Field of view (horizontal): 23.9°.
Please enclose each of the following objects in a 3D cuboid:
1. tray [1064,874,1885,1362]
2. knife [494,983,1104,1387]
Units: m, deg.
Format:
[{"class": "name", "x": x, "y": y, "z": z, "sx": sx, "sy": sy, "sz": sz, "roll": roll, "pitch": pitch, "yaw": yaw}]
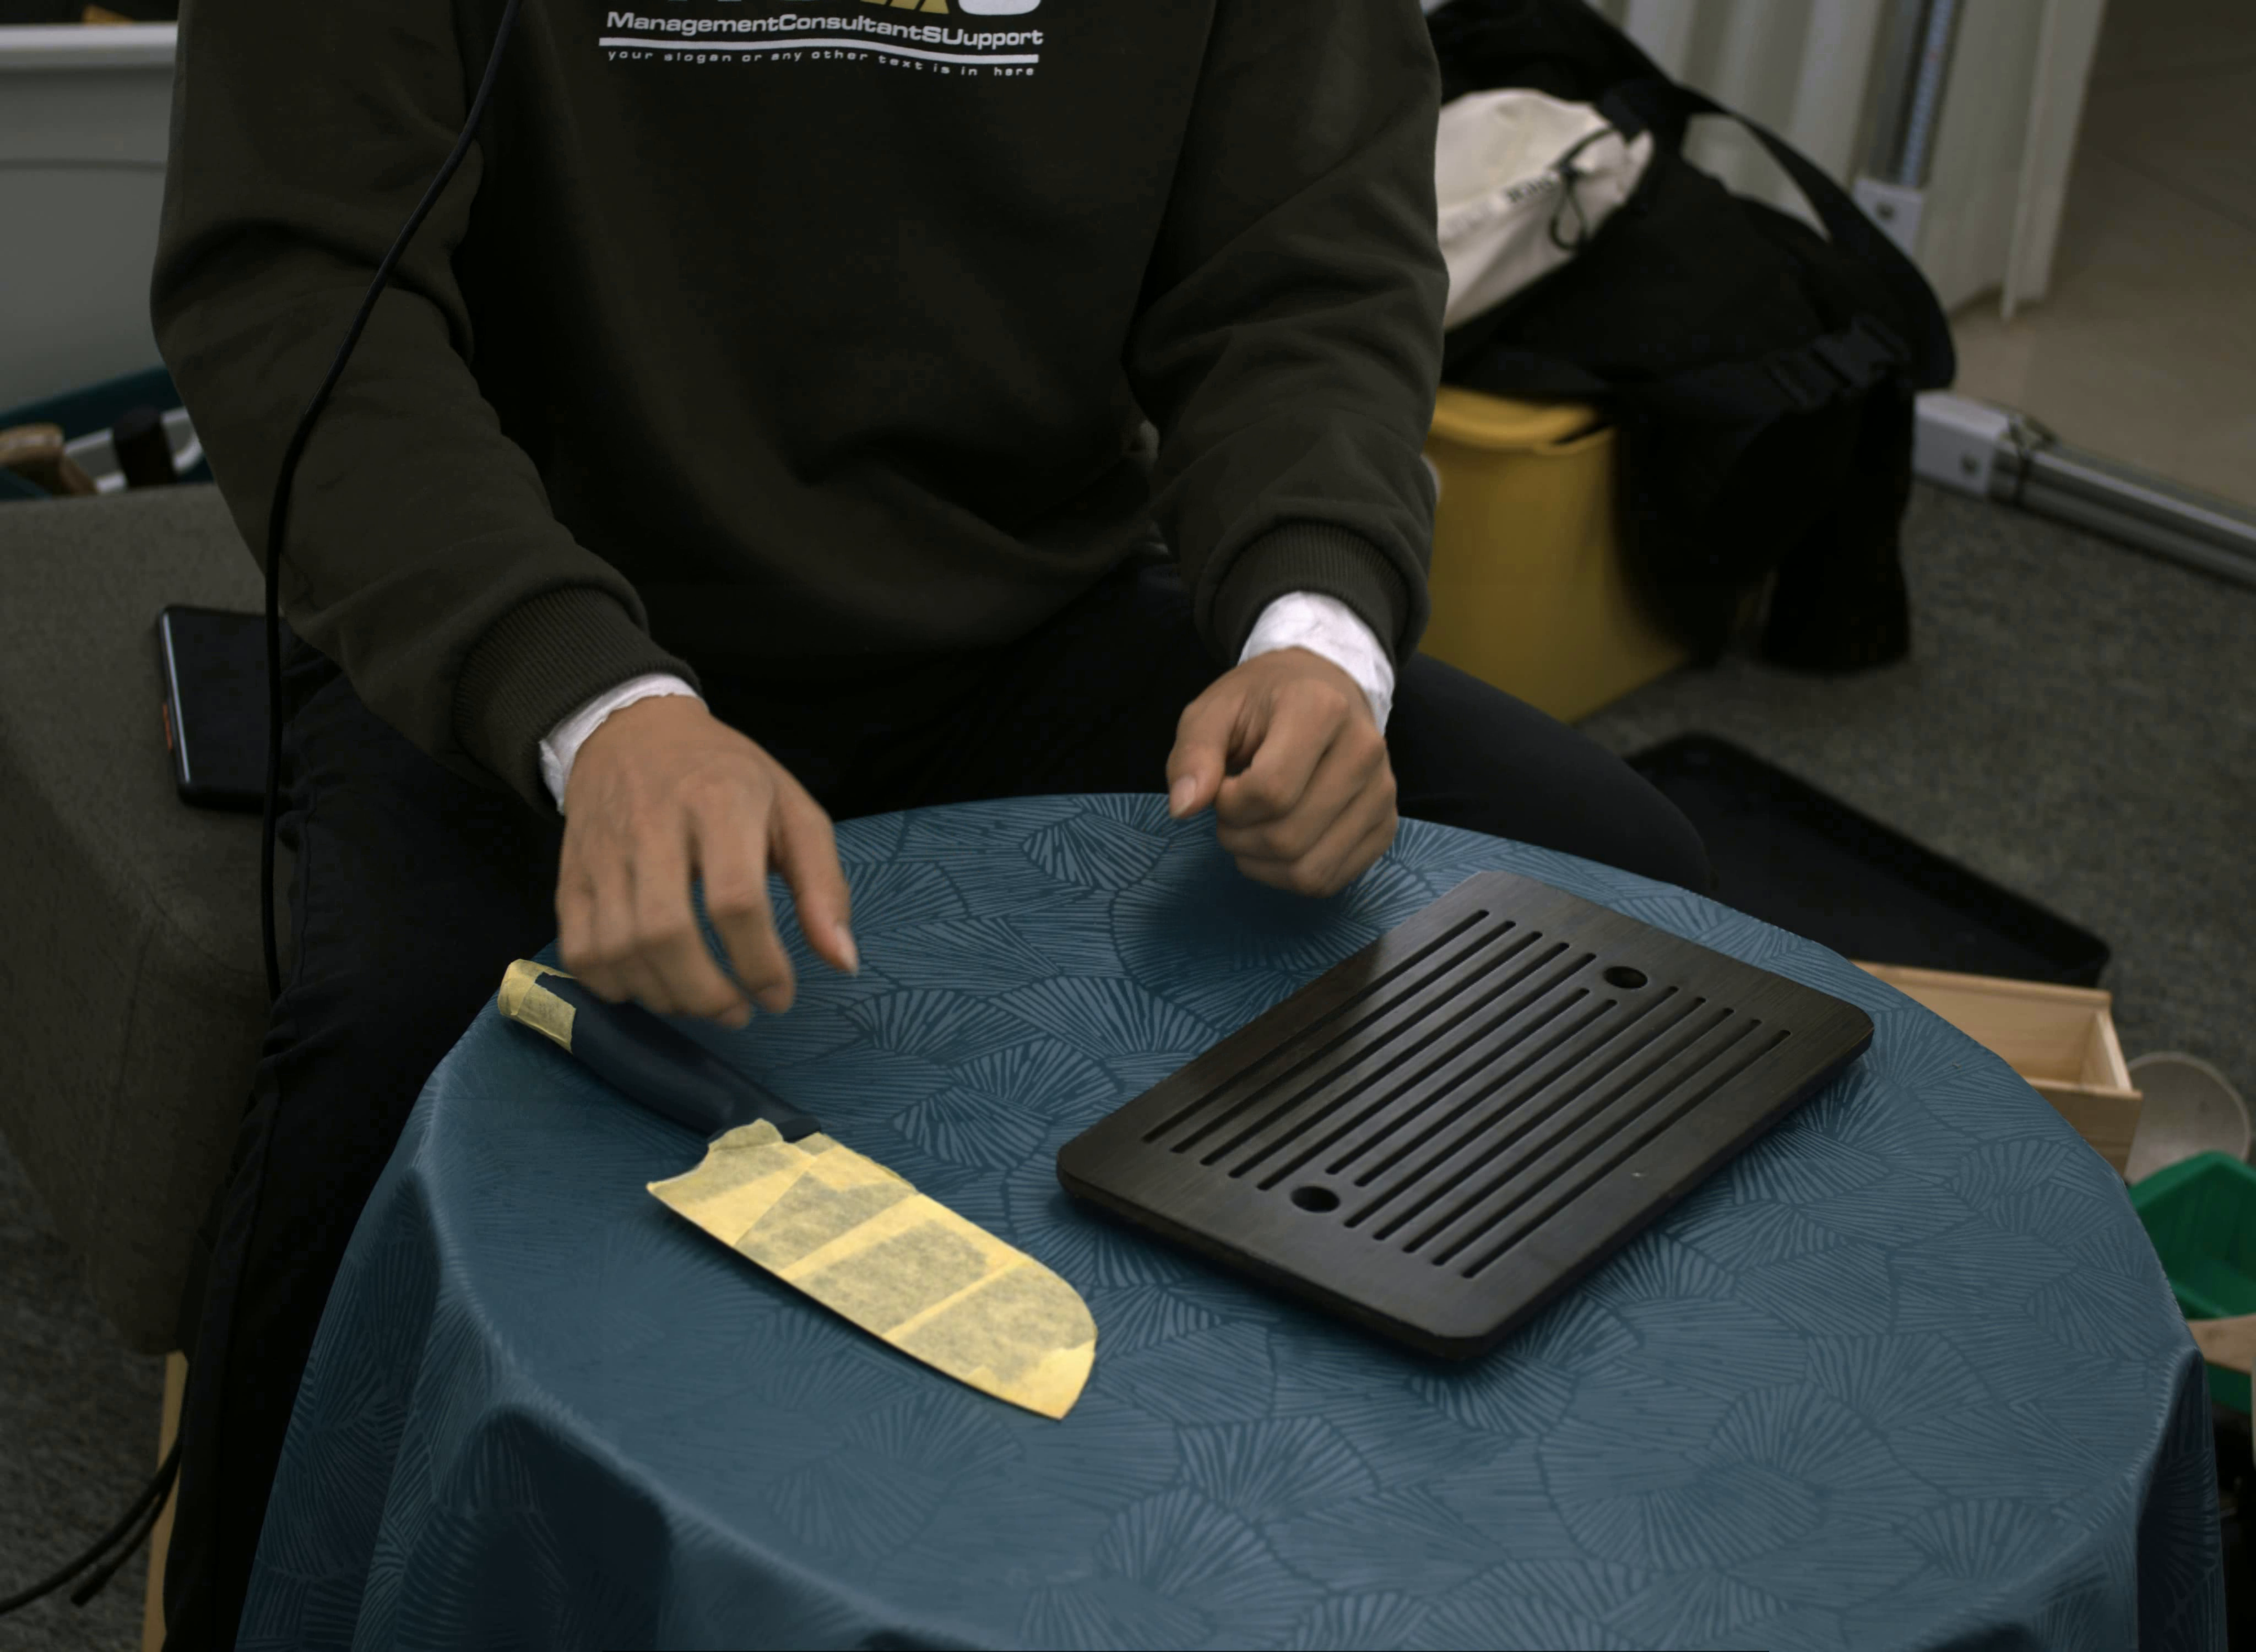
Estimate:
[{"class": "tray", "x": 0.126, "y": 0.099, "z": 1.863, "sx": 0.171, "sy": 0.018, "sz": 0.305, "roll": 21, "pitch": 30, "yaw": 28}, {"class": "knife", "x": -0.118, "y": 0.120, "z": 1.770, "sx": 0.291, "sy": 0.027, "sz": 0.080, "roll": 28, "pitch": 32, "yaw": 35}]
